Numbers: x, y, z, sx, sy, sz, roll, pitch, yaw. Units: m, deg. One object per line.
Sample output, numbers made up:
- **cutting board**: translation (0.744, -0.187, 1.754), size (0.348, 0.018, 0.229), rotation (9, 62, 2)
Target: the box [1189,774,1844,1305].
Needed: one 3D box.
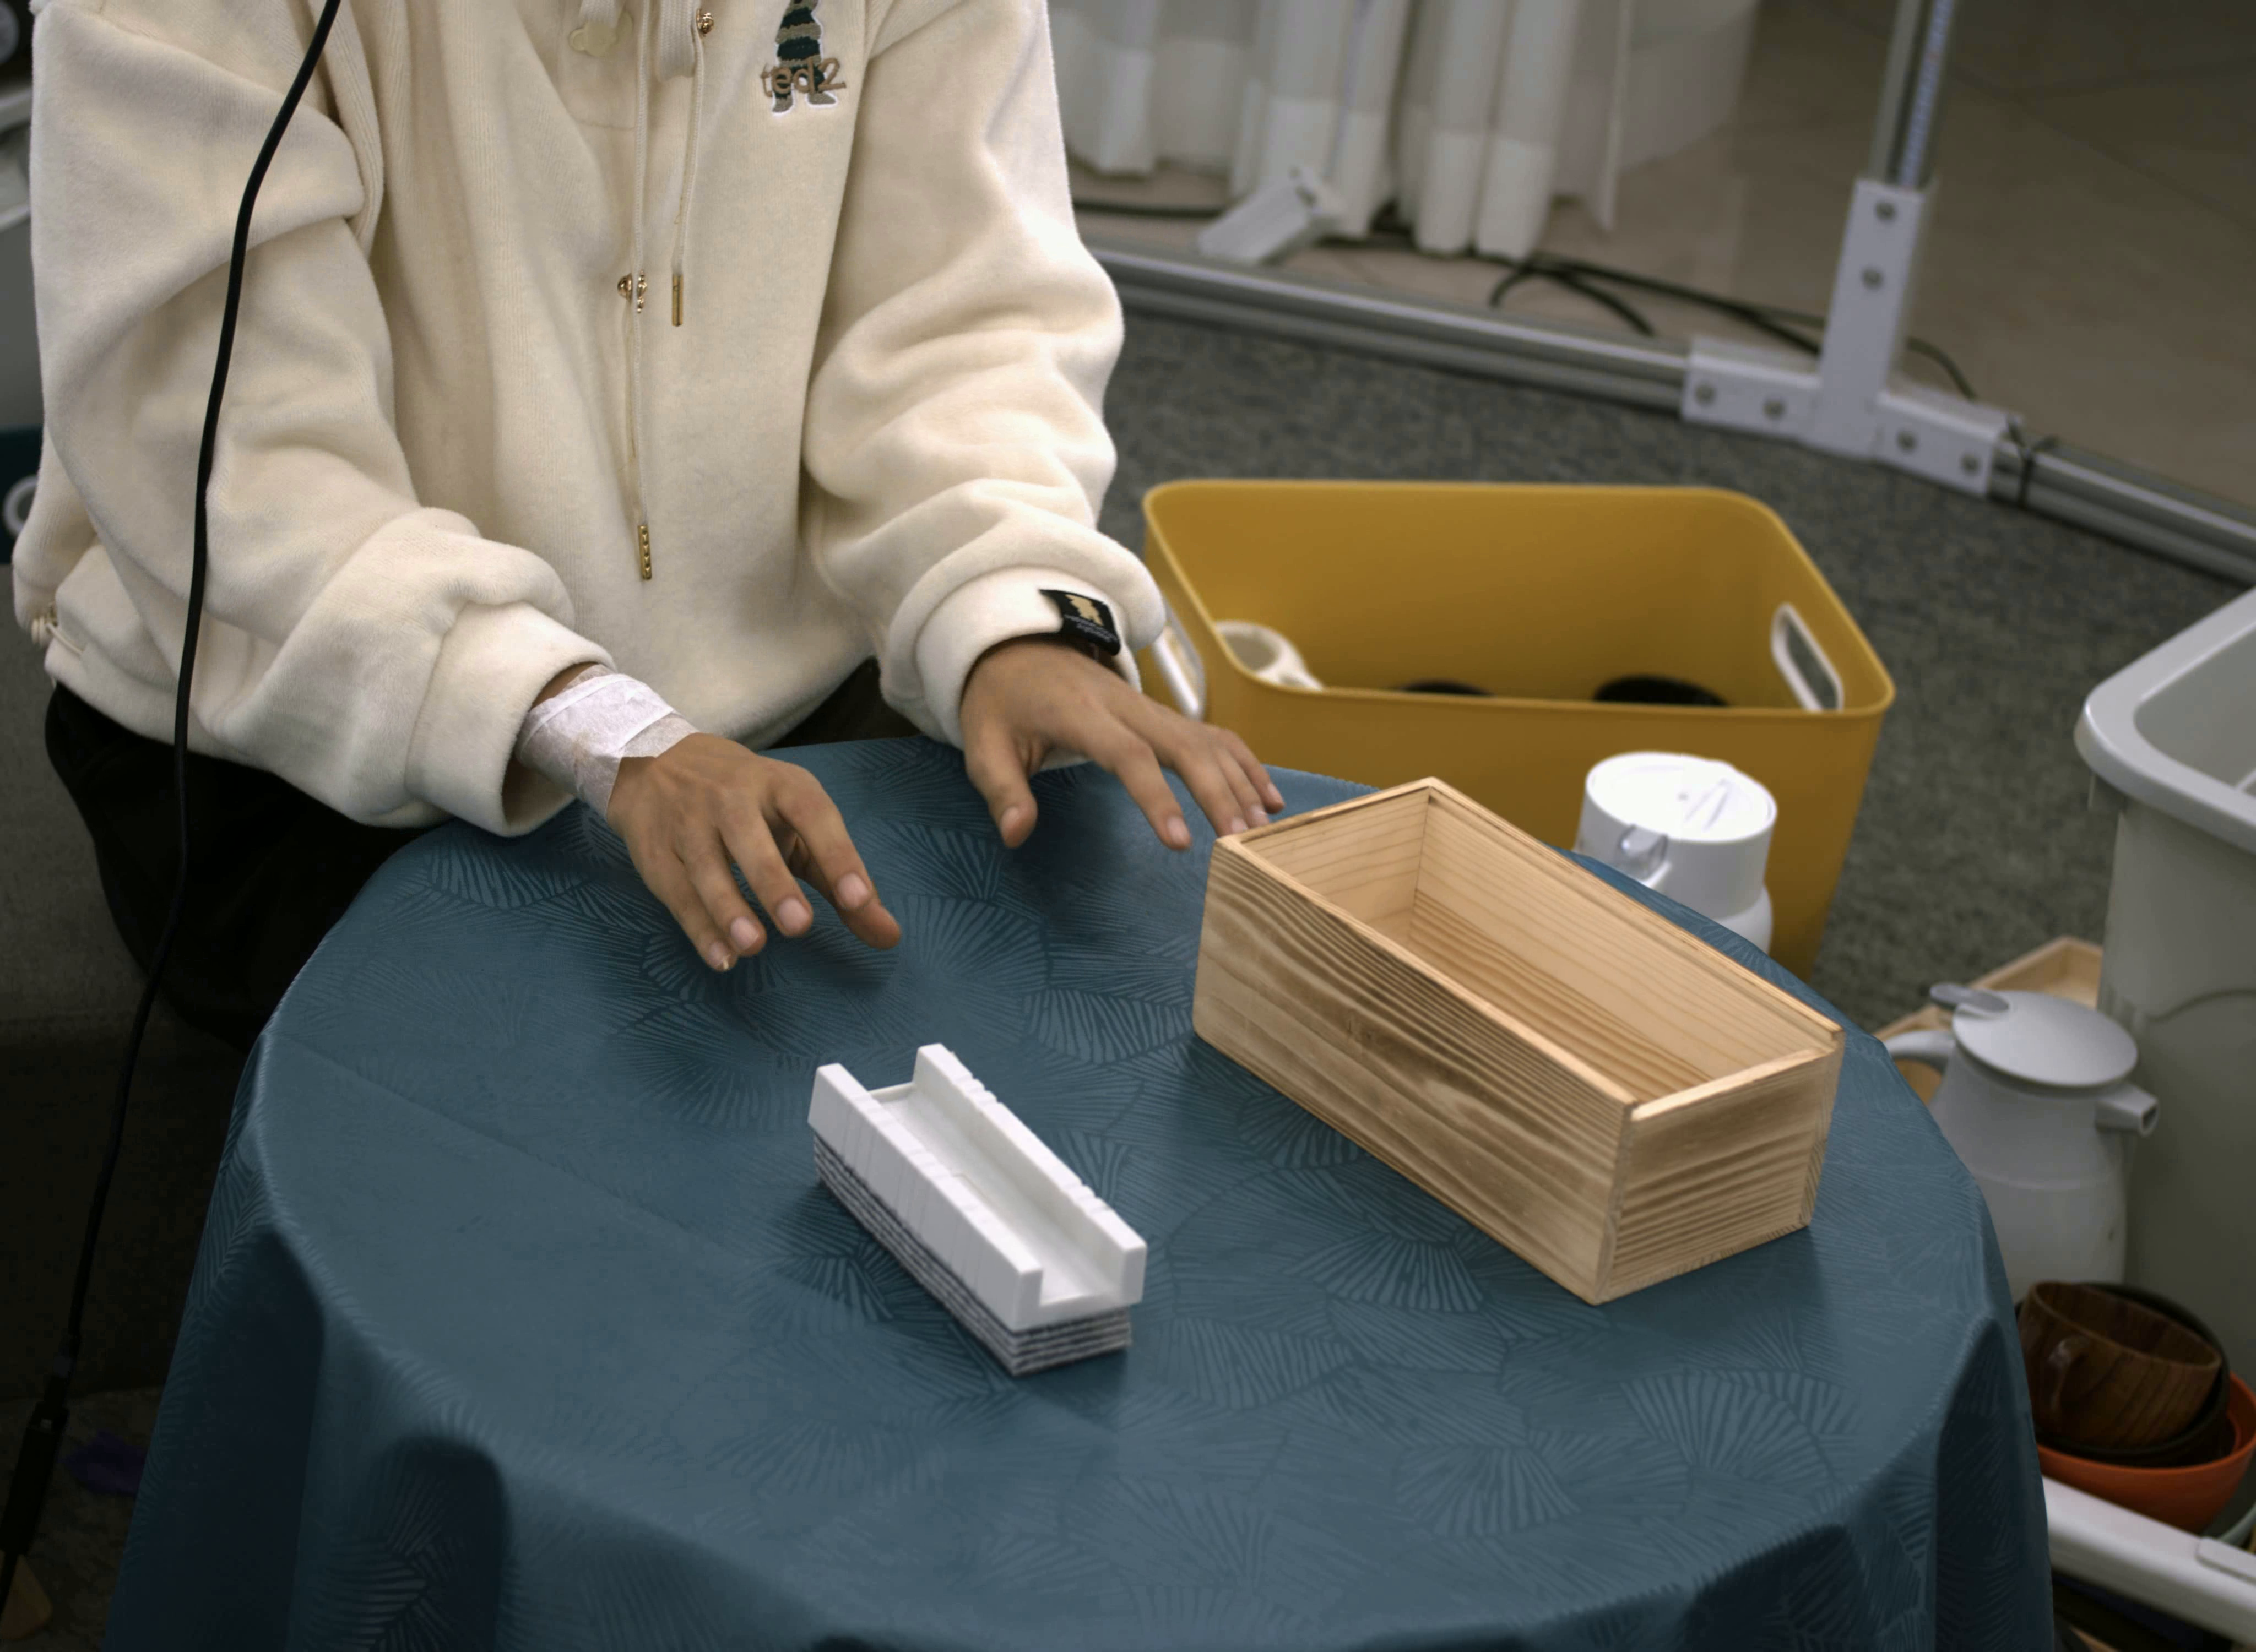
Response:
- **box**: translation (0.131, 0.070, 1.849), size (0.107, 0.080, 0.213), rotation (-15, 35, -37)

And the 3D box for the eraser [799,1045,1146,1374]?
- **eraser**: translation (-0.053, 0.124, 1.737), size (0.049, 0.046, 0.135), rotation (-13, 35, -32)
